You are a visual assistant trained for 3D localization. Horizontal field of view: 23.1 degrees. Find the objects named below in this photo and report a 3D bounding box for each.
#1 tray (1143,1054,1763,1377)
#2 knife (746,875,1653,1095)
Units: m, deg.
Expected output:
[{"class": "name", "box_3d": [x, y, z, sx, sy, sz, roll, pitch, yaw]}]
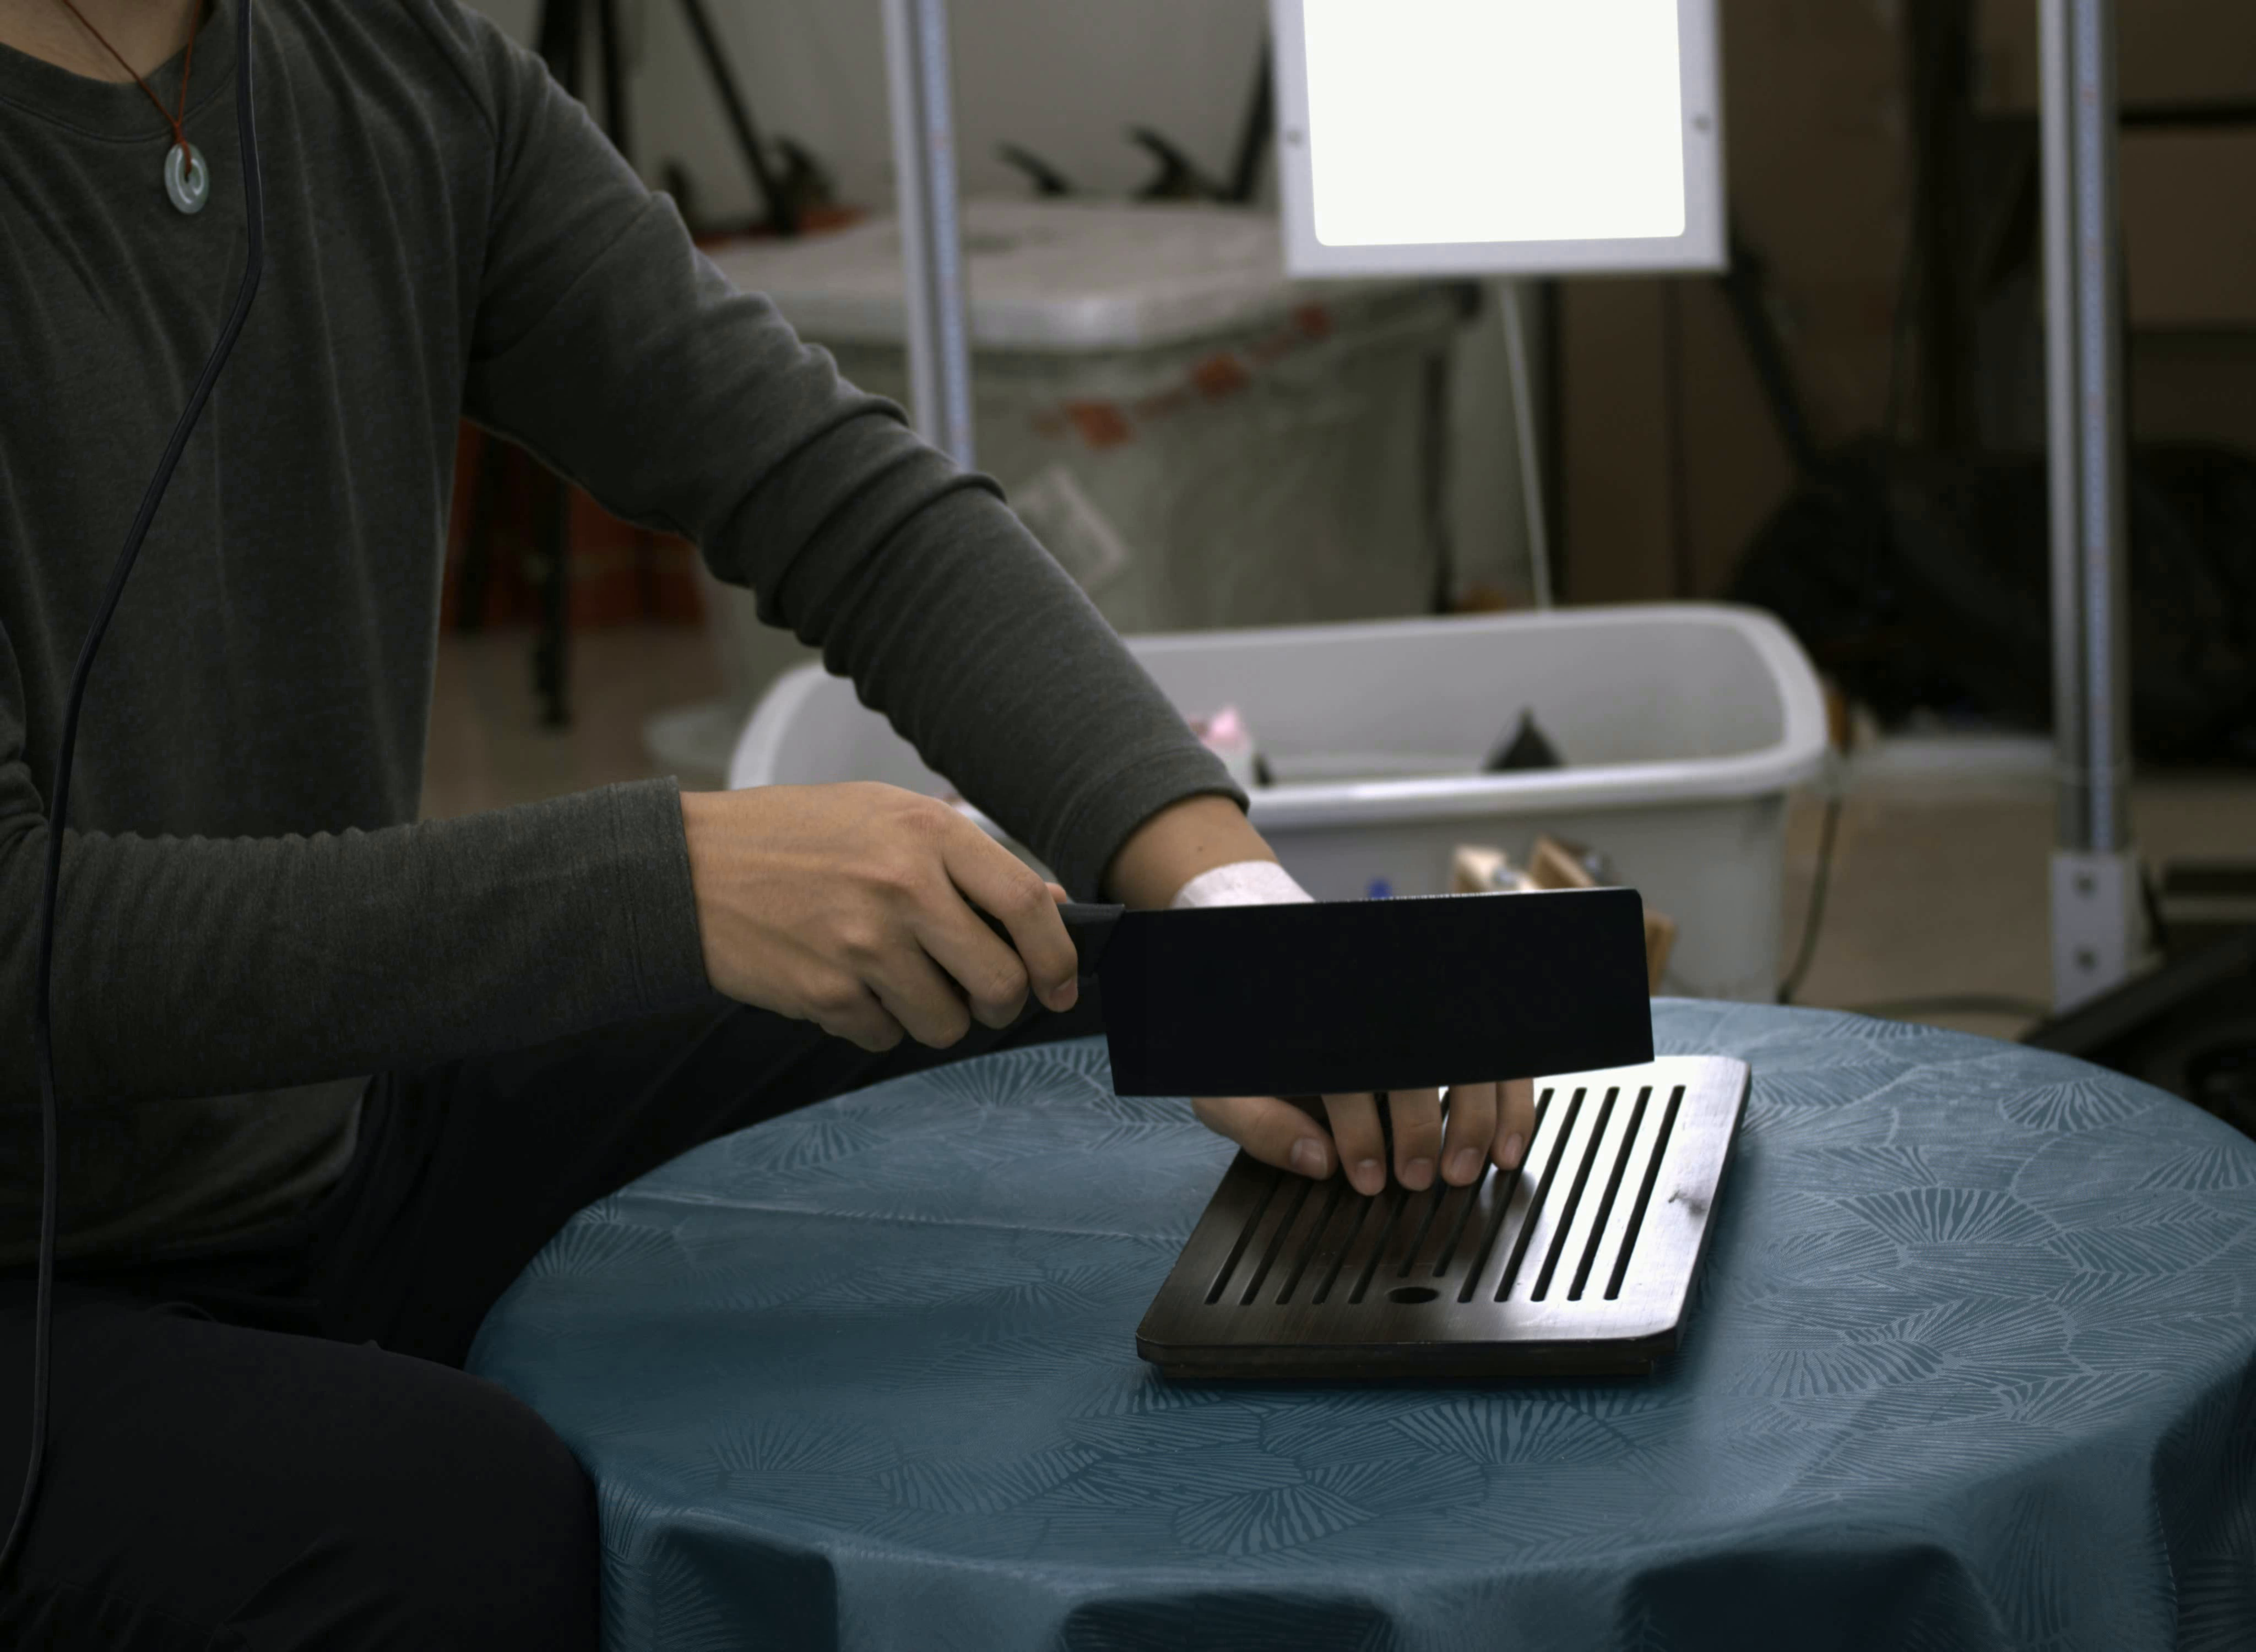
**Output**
[{"class": "tray", "box_3d": [0.115, 0.127, 1.819, 0.171, 0.019, 0.302, -3, 13, 13]}, {"class": "knife", "box_3d": [0.021, 0.051, 1.794, 0.305, 0.081, 0.020, 1, 19, 14]}]
